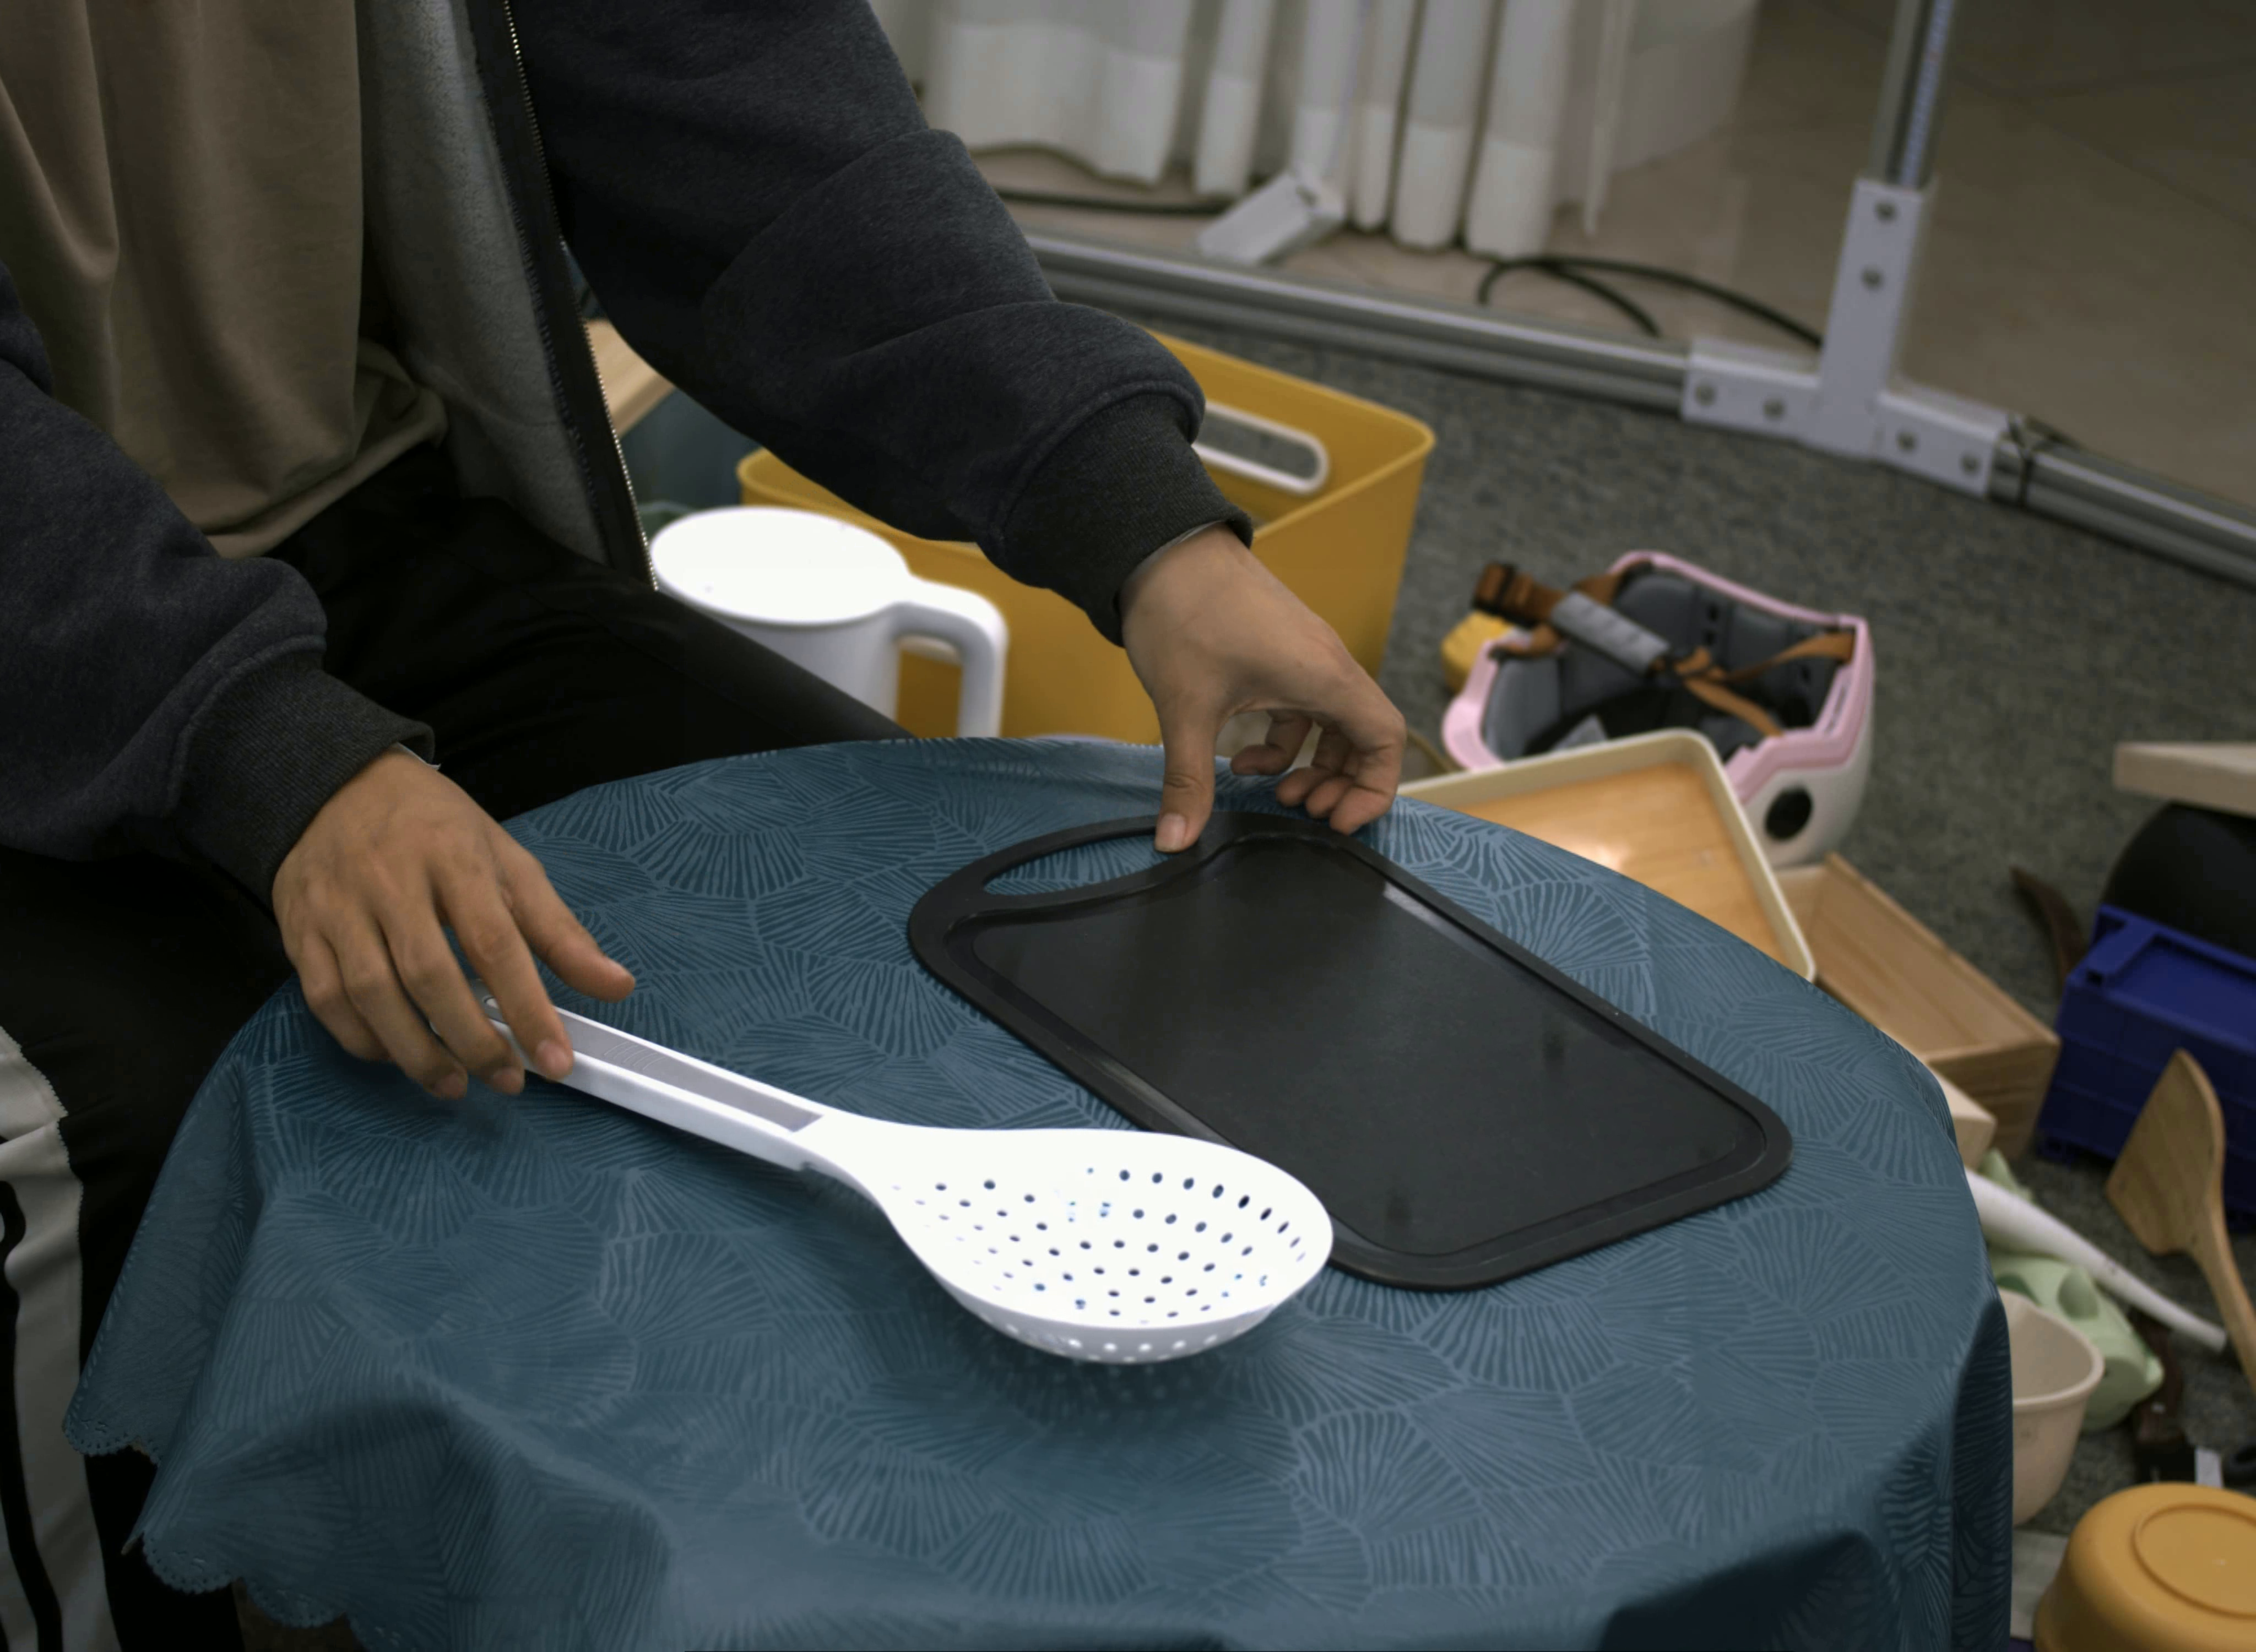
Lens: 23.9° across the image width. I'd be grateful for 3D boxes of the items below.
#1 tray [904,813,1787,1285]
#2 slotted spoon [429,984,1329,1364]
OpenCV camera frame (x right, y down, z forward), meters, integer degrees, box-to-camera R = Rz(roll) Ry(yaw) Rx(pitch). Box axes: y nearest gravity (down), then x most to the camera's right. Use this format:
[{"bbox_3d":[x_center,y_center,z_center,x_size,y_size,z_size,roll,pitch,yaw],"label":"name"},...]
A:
[{"bbox_3d":[0.069,0.071,1.914,0.210,0.010,0.328,-15,34,-36],"label":"tray"},{"bbox_3d":[-0.093,0.108,1.761,0.352,0.045,0.135,21,28,29],"label":"slotted spoon"}]
